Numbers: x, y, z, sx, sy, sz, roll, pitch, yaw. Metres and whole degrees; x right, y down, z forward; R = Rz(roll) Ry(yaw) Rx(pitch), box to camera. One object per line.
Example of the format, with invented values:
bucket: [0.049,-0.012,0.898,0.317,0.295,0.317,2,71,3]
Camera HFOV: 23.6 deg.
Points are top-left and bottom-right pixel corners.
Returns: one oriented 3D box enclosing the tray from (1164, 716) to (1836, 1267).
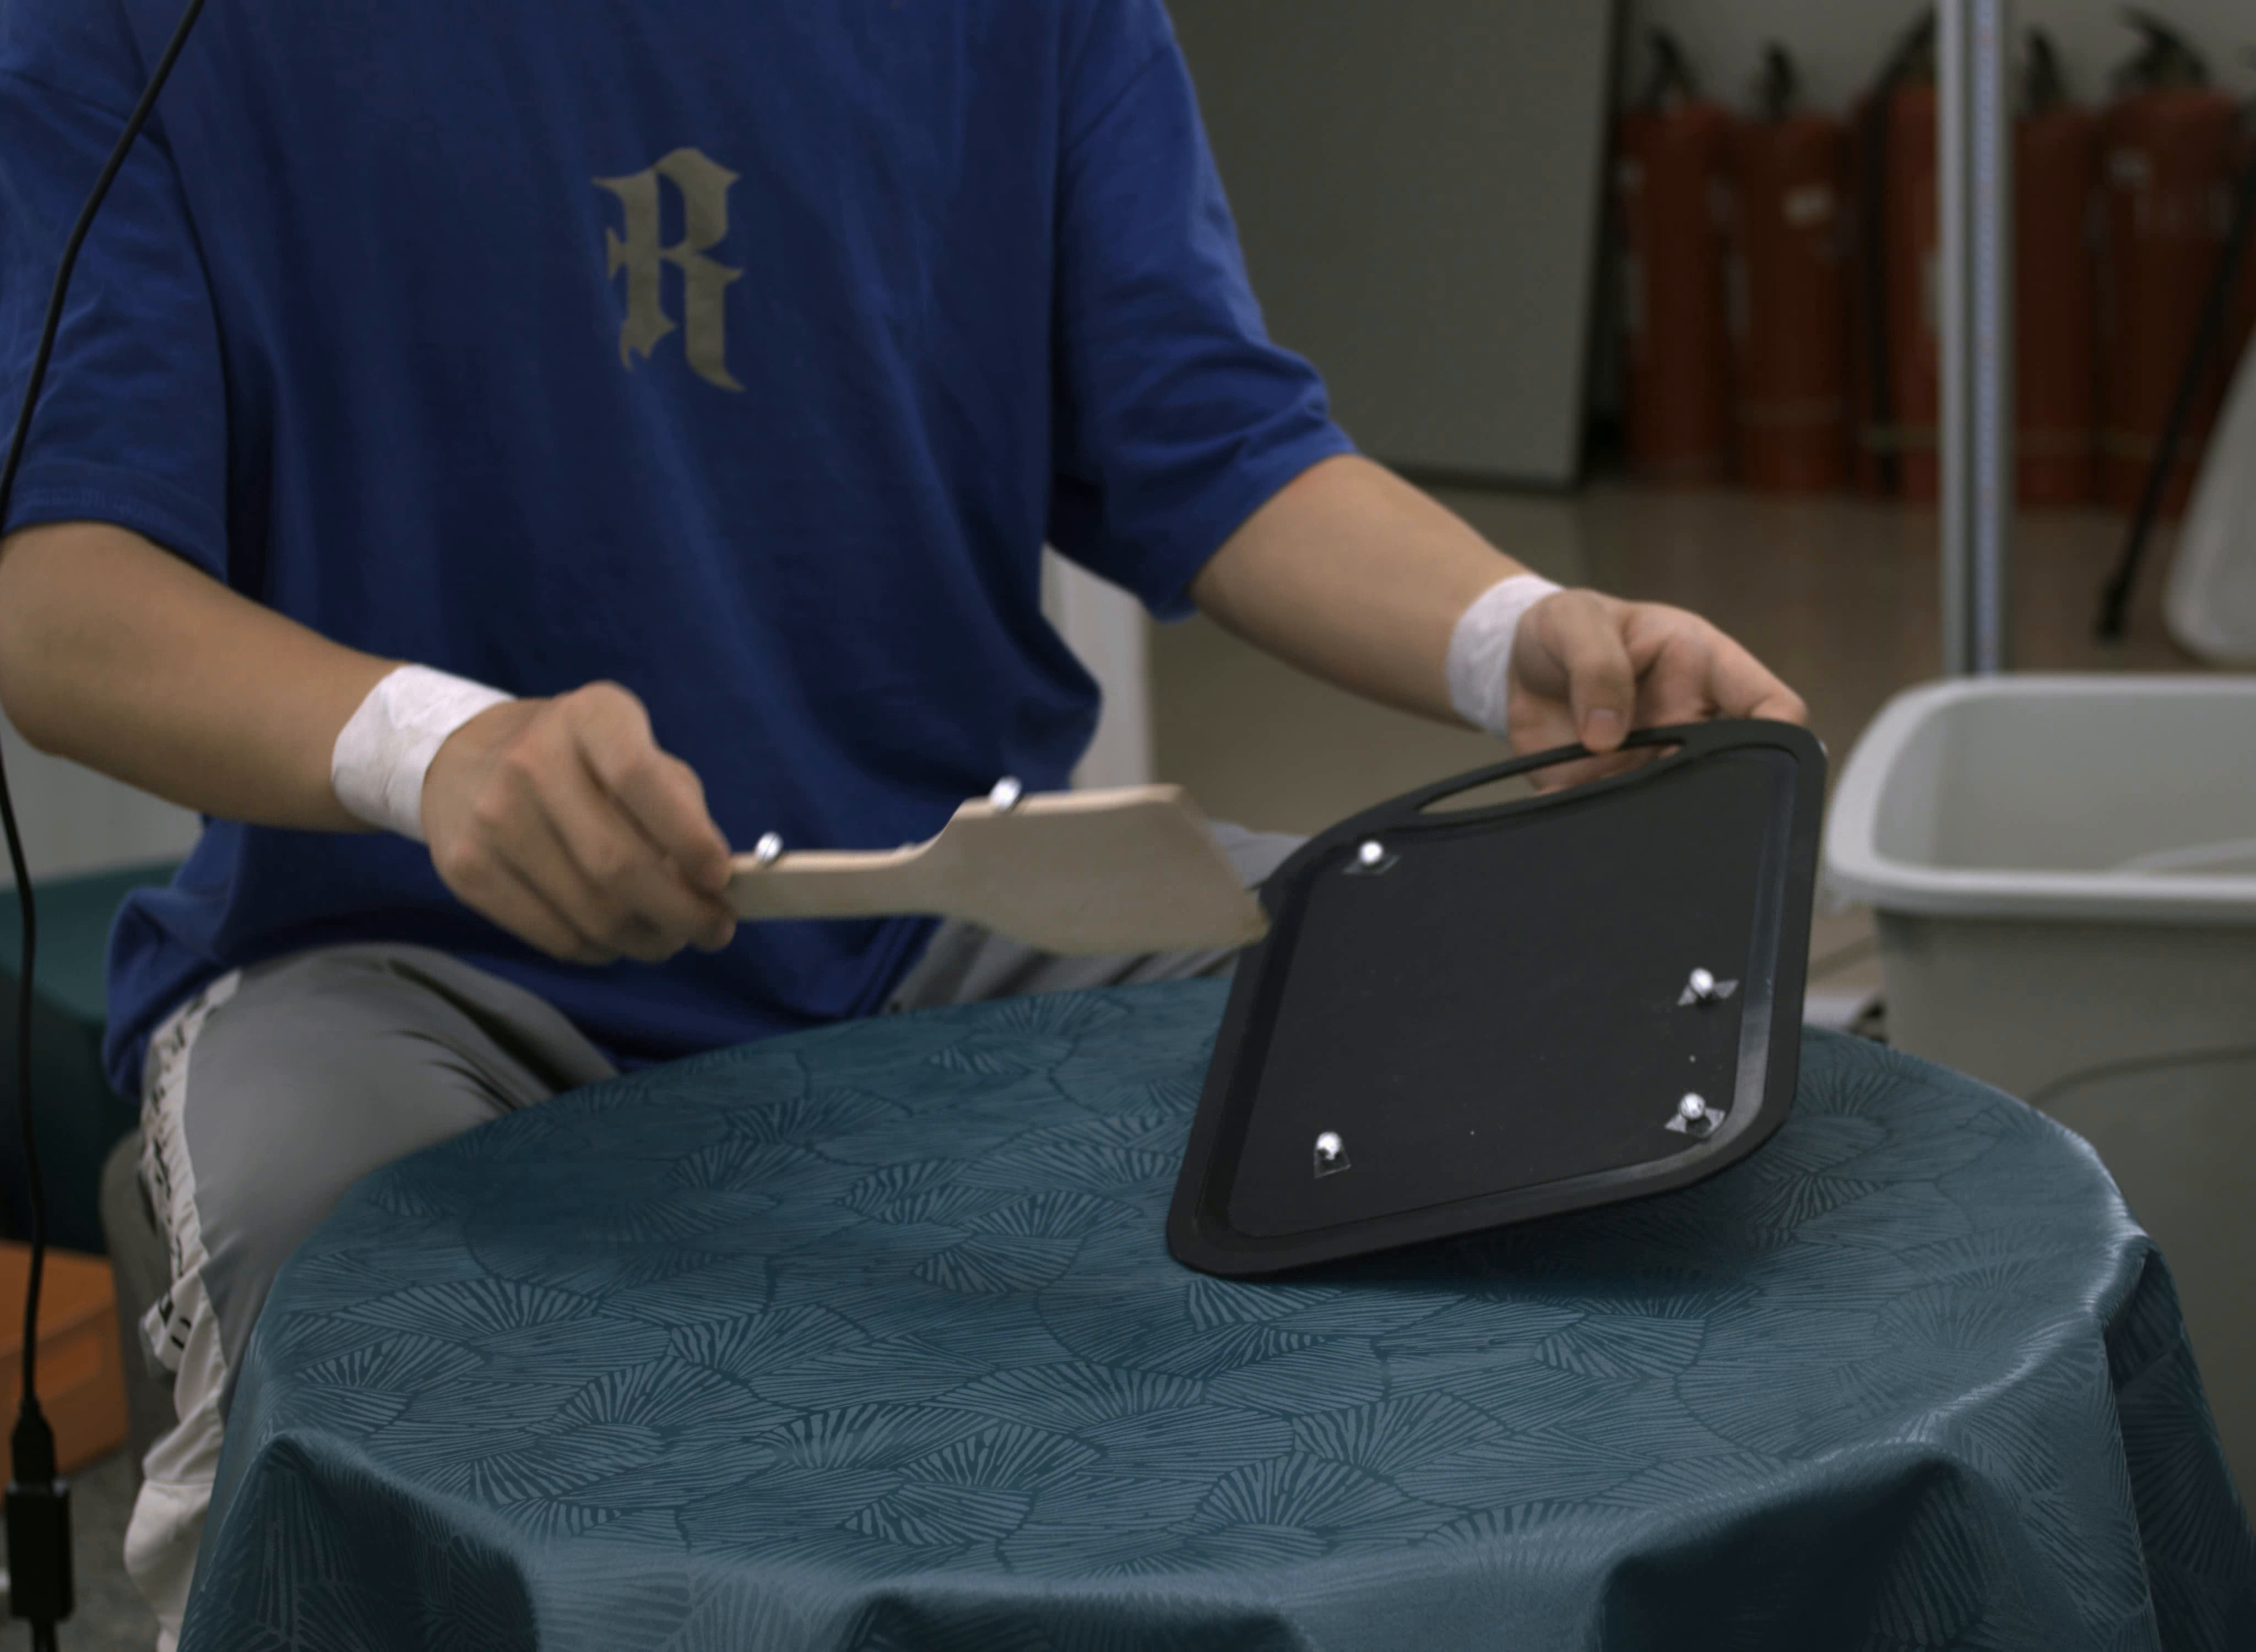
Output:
tray: [0.128,0.046,1.790,0.211,0.010,0.325,-13,25,19]

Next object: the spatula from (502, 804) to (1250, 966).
spatula: [-0.093,0.021,1.739,0.295,0.071,0.010,-2,49,38]
